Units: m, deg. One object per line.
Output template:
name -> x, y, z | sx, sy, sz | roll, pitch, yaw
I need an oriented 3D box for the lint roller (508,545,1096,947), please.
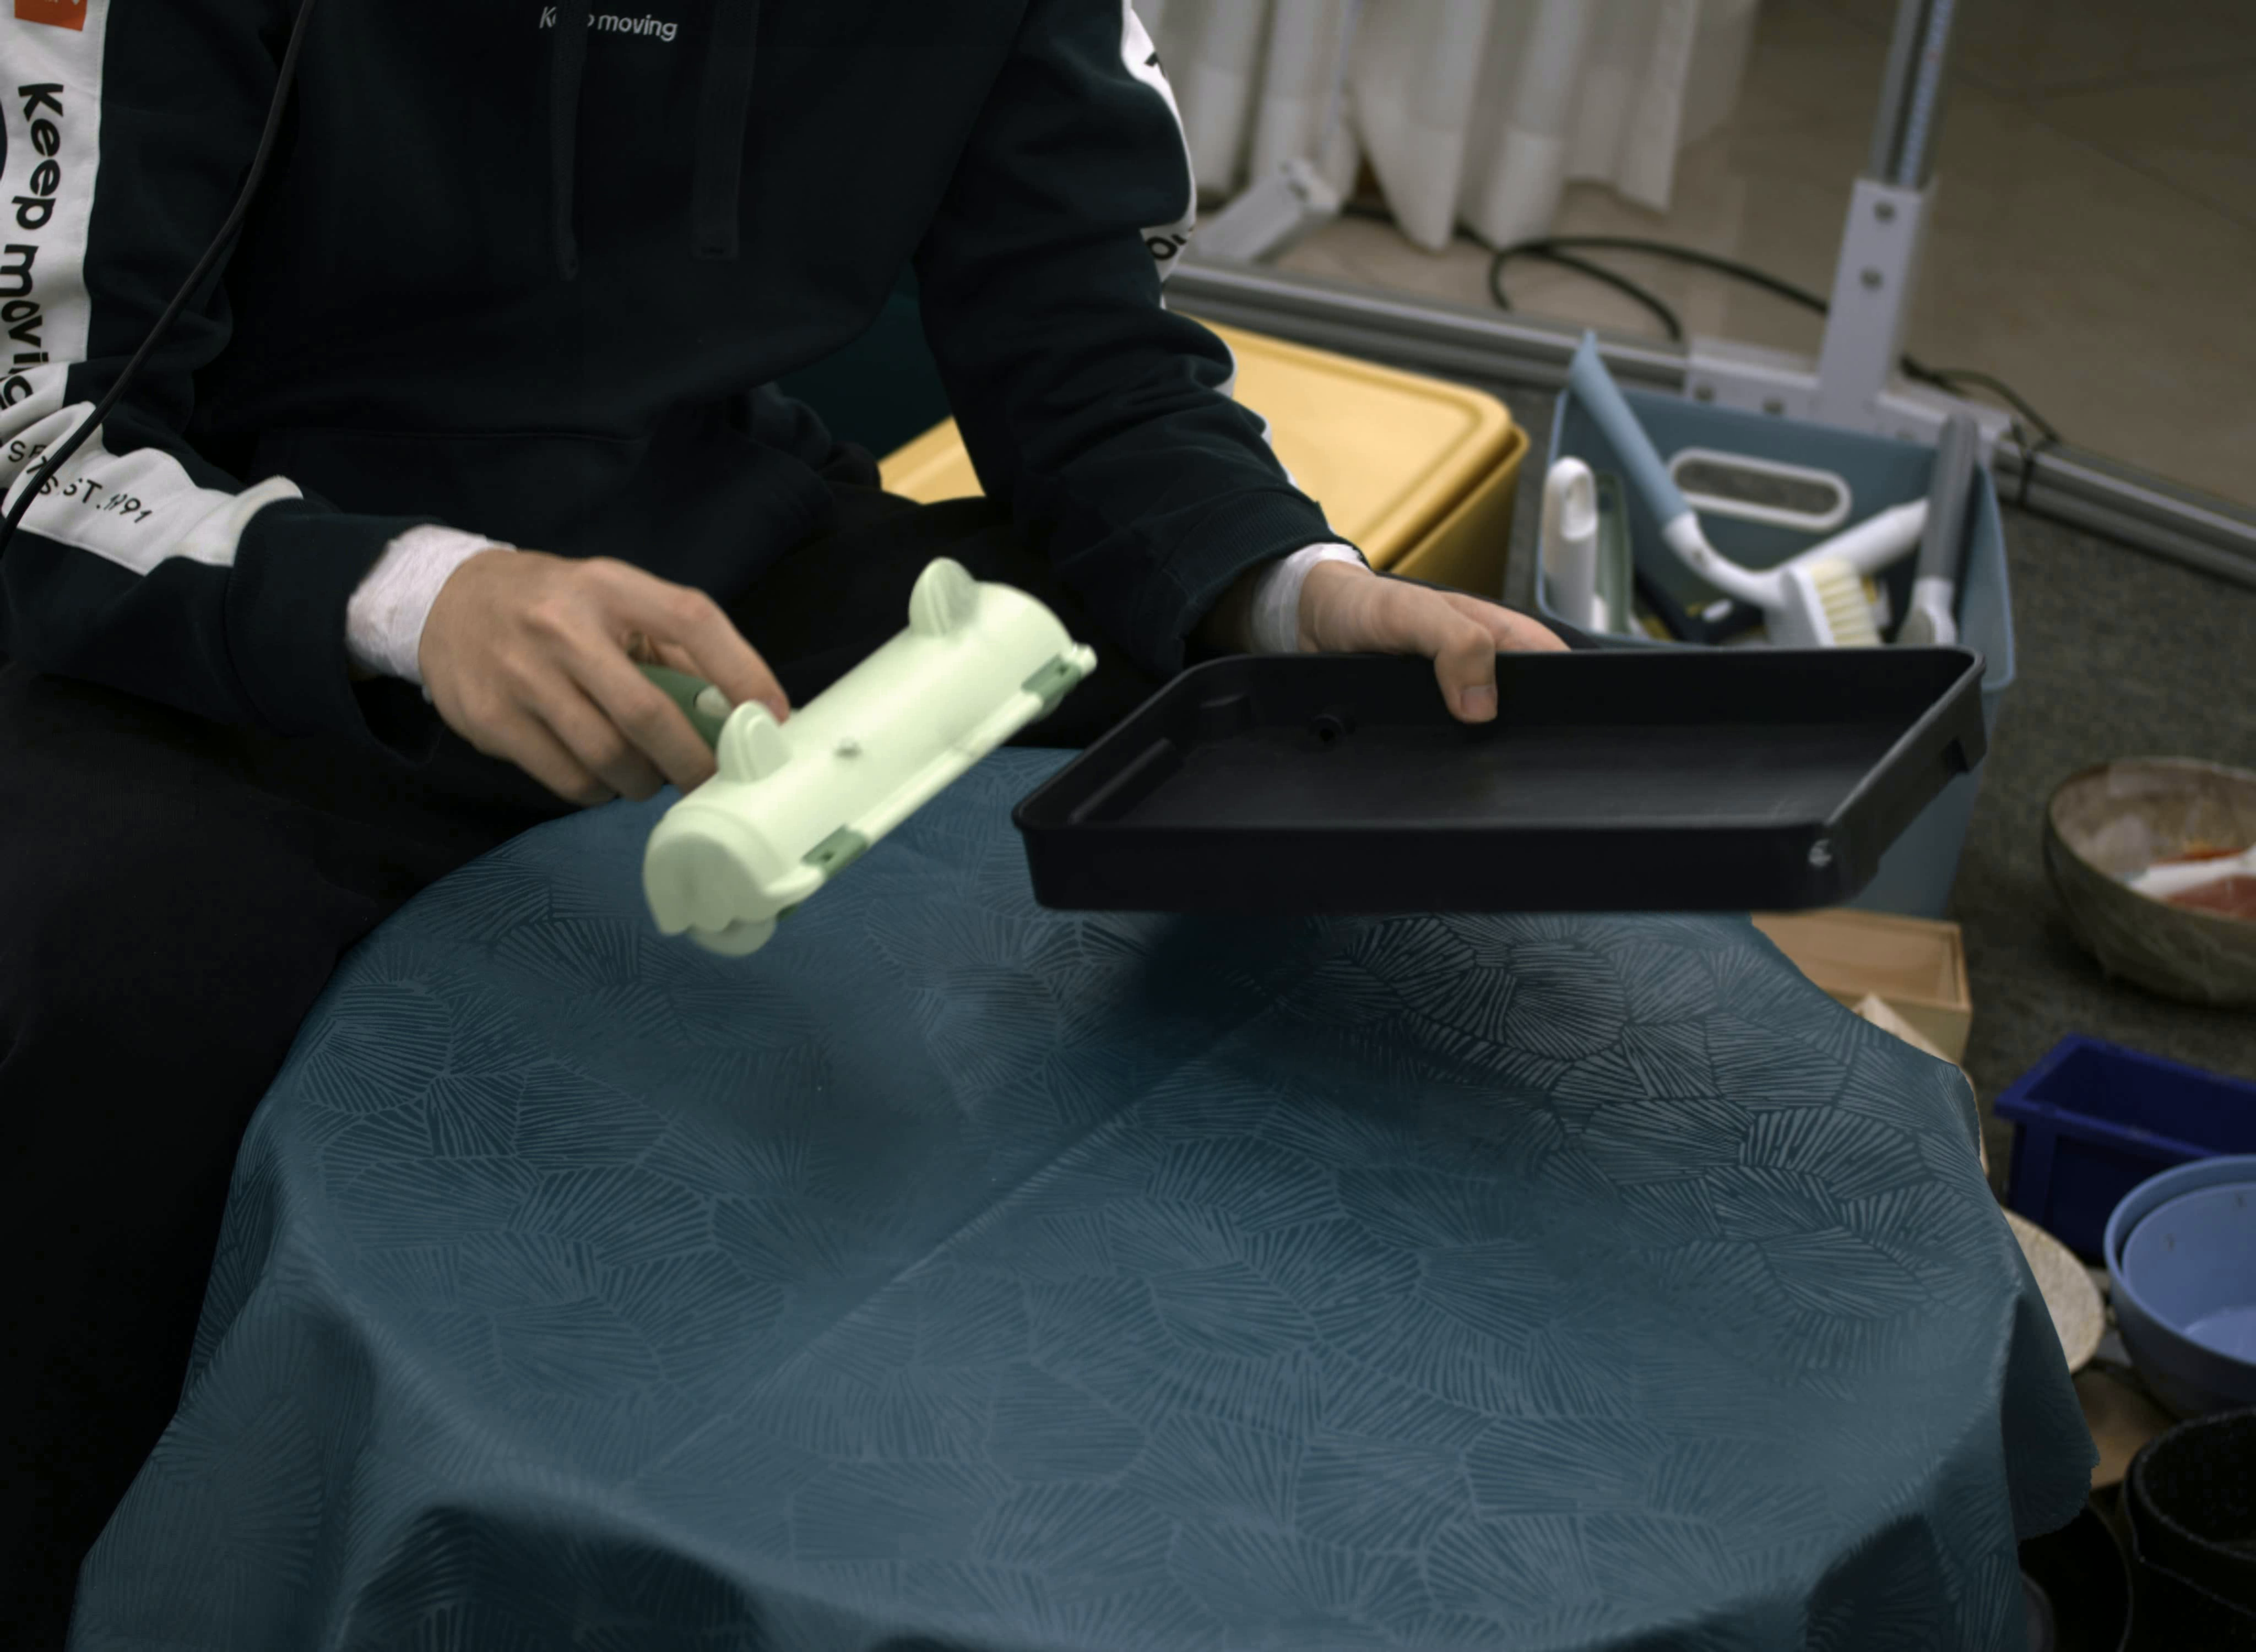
lint roller -> -0.134, -0.048, 1.805 | 0.184, 0.082, 0.198 | 20, 36, 24

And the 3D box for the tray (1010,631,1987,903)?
tray -> 0.132, -0.021, 1.887 | 0.319, 0.037, 0.184 | -1, 19, 28
